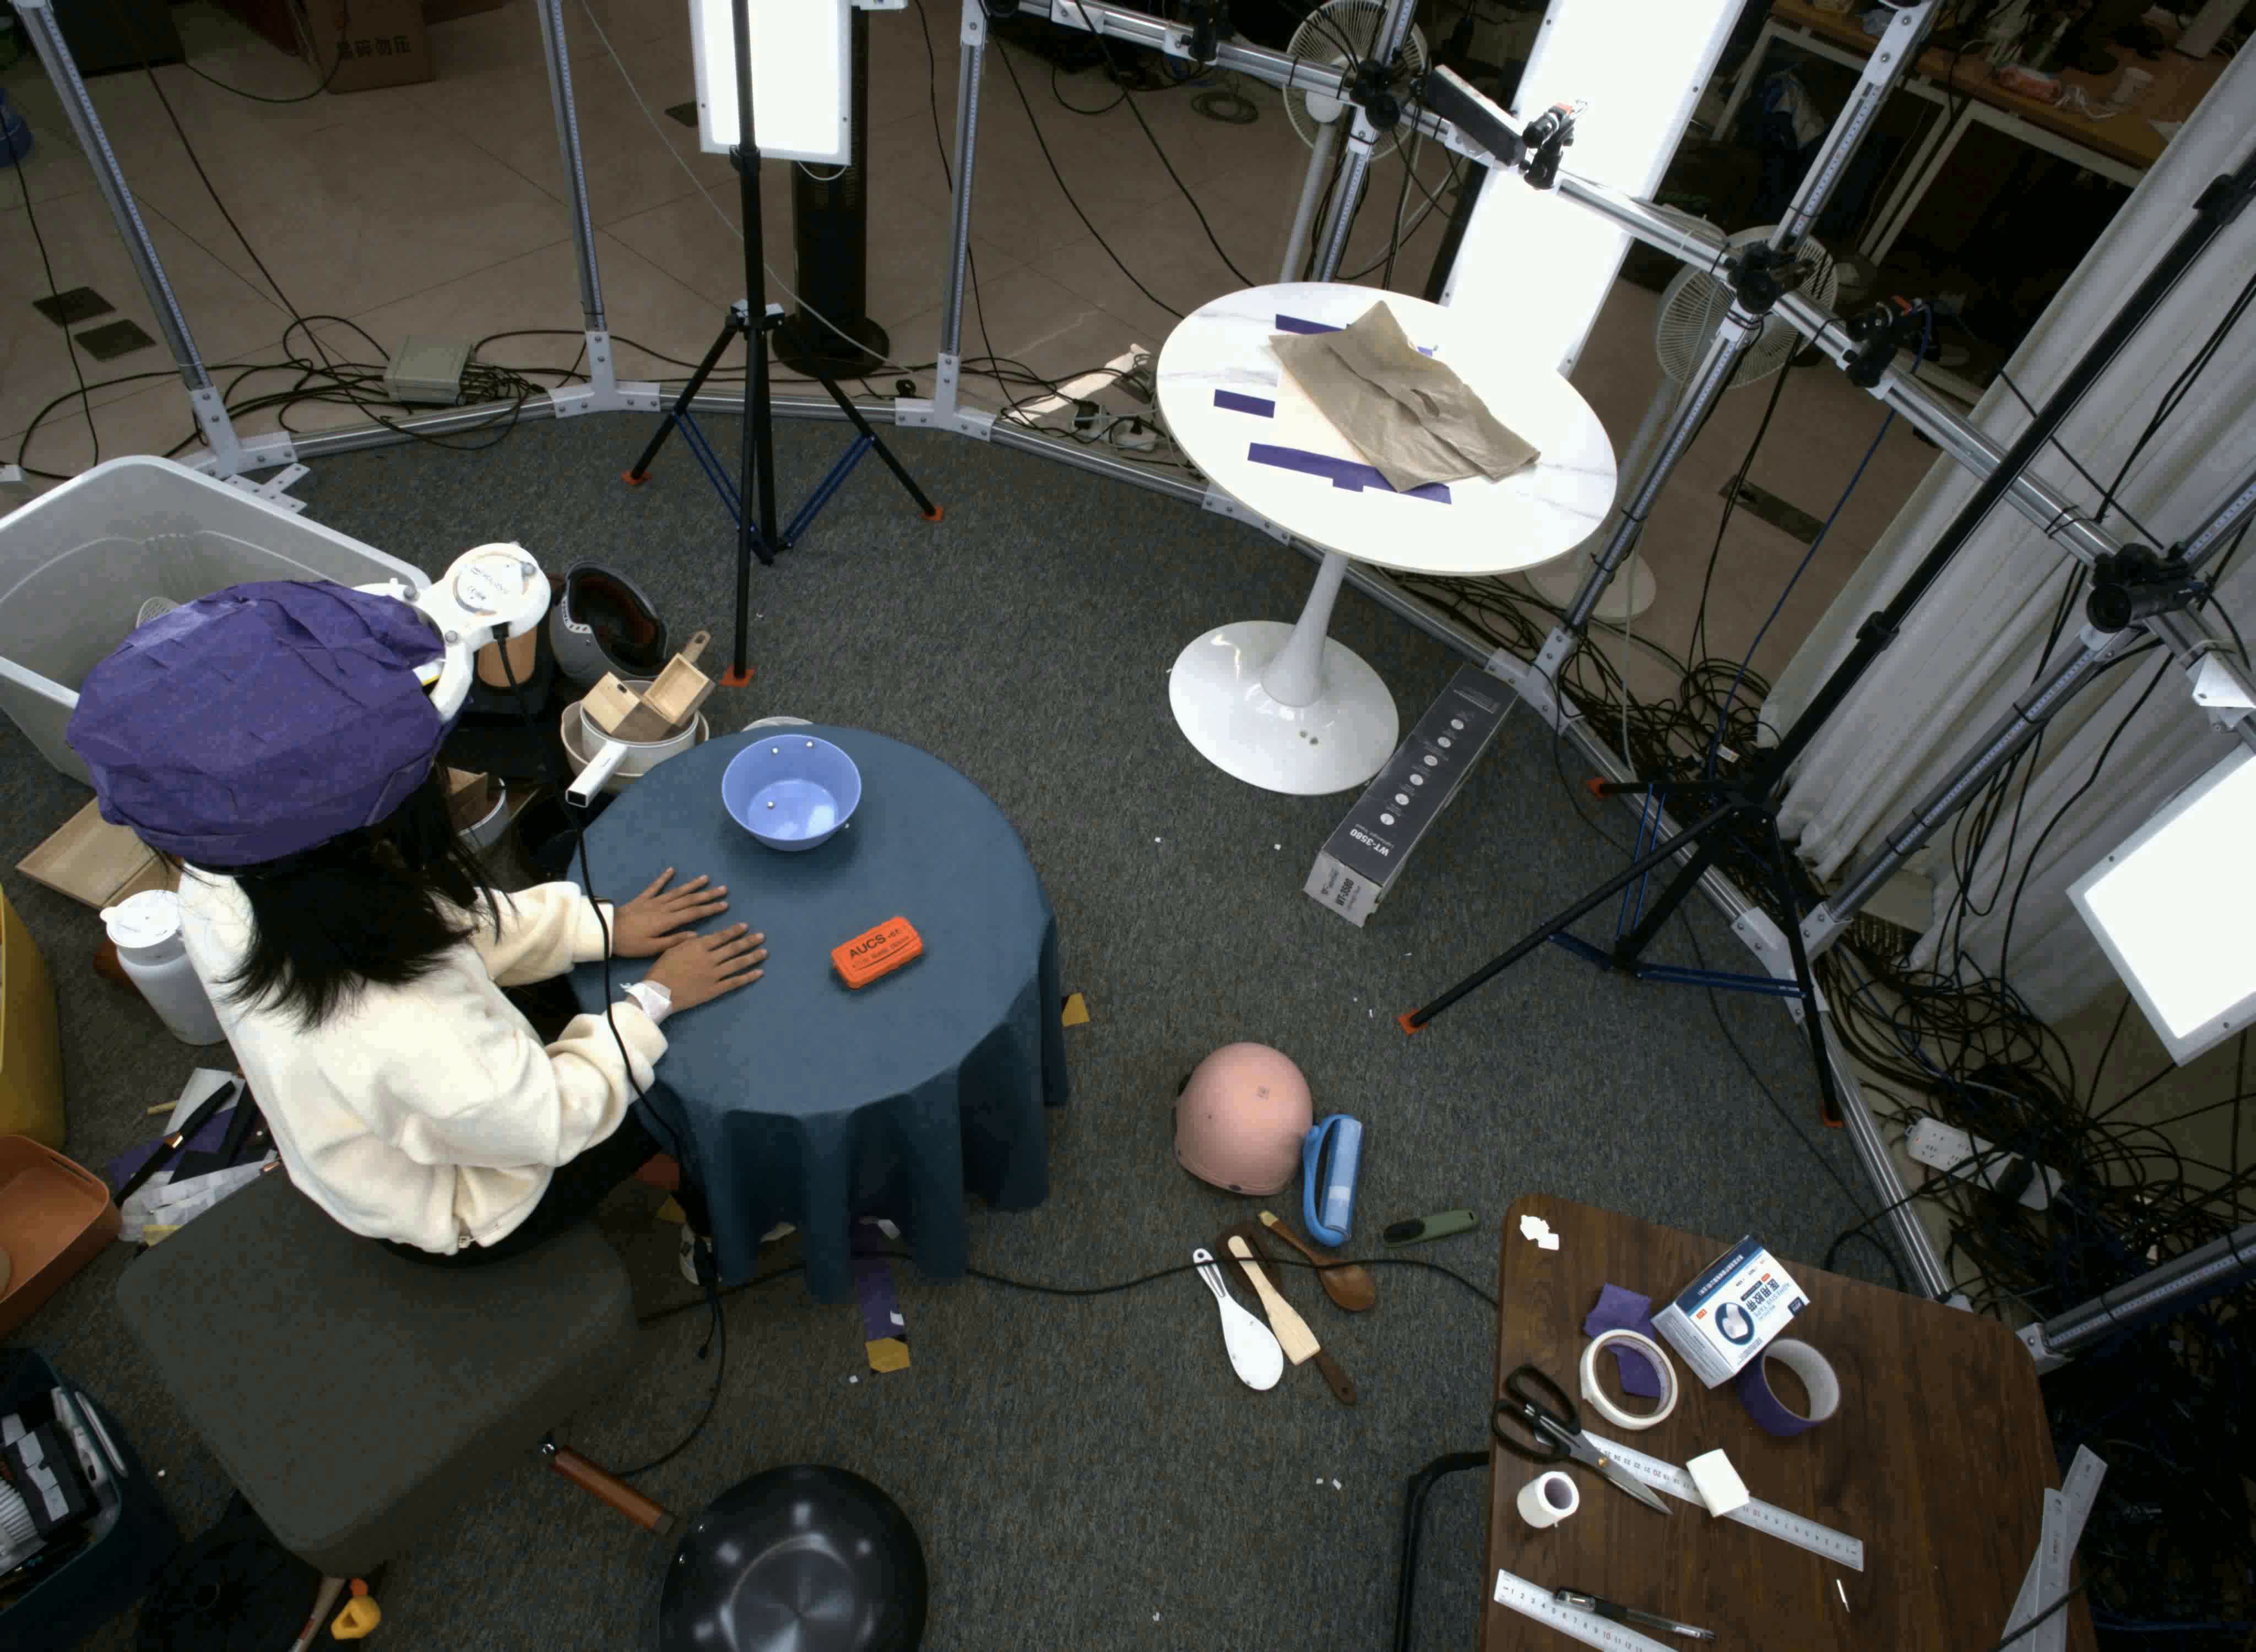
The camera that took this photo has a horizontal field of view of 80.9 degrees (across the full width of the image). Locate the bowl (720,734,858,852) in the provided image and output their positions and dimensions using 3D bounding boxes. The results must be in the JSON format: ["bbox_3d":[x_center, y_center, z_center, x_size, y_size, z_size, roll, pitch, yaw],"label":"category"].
[{"bbox_3d":[-0.442,-0.033,1.693,0.176,0.072,0.173,8,52,-9],"label":"bowl"}]

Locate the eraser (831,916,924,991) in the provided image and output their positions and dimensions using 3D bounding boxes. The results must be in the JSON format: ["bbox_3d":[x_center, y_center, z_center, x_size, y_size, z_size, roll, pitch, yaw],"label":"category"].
[{"bbox_3d":[-0.312,0.156,1.617,0.108,0.023,0.058,-28,67,-31],"label":"eraser"}]
